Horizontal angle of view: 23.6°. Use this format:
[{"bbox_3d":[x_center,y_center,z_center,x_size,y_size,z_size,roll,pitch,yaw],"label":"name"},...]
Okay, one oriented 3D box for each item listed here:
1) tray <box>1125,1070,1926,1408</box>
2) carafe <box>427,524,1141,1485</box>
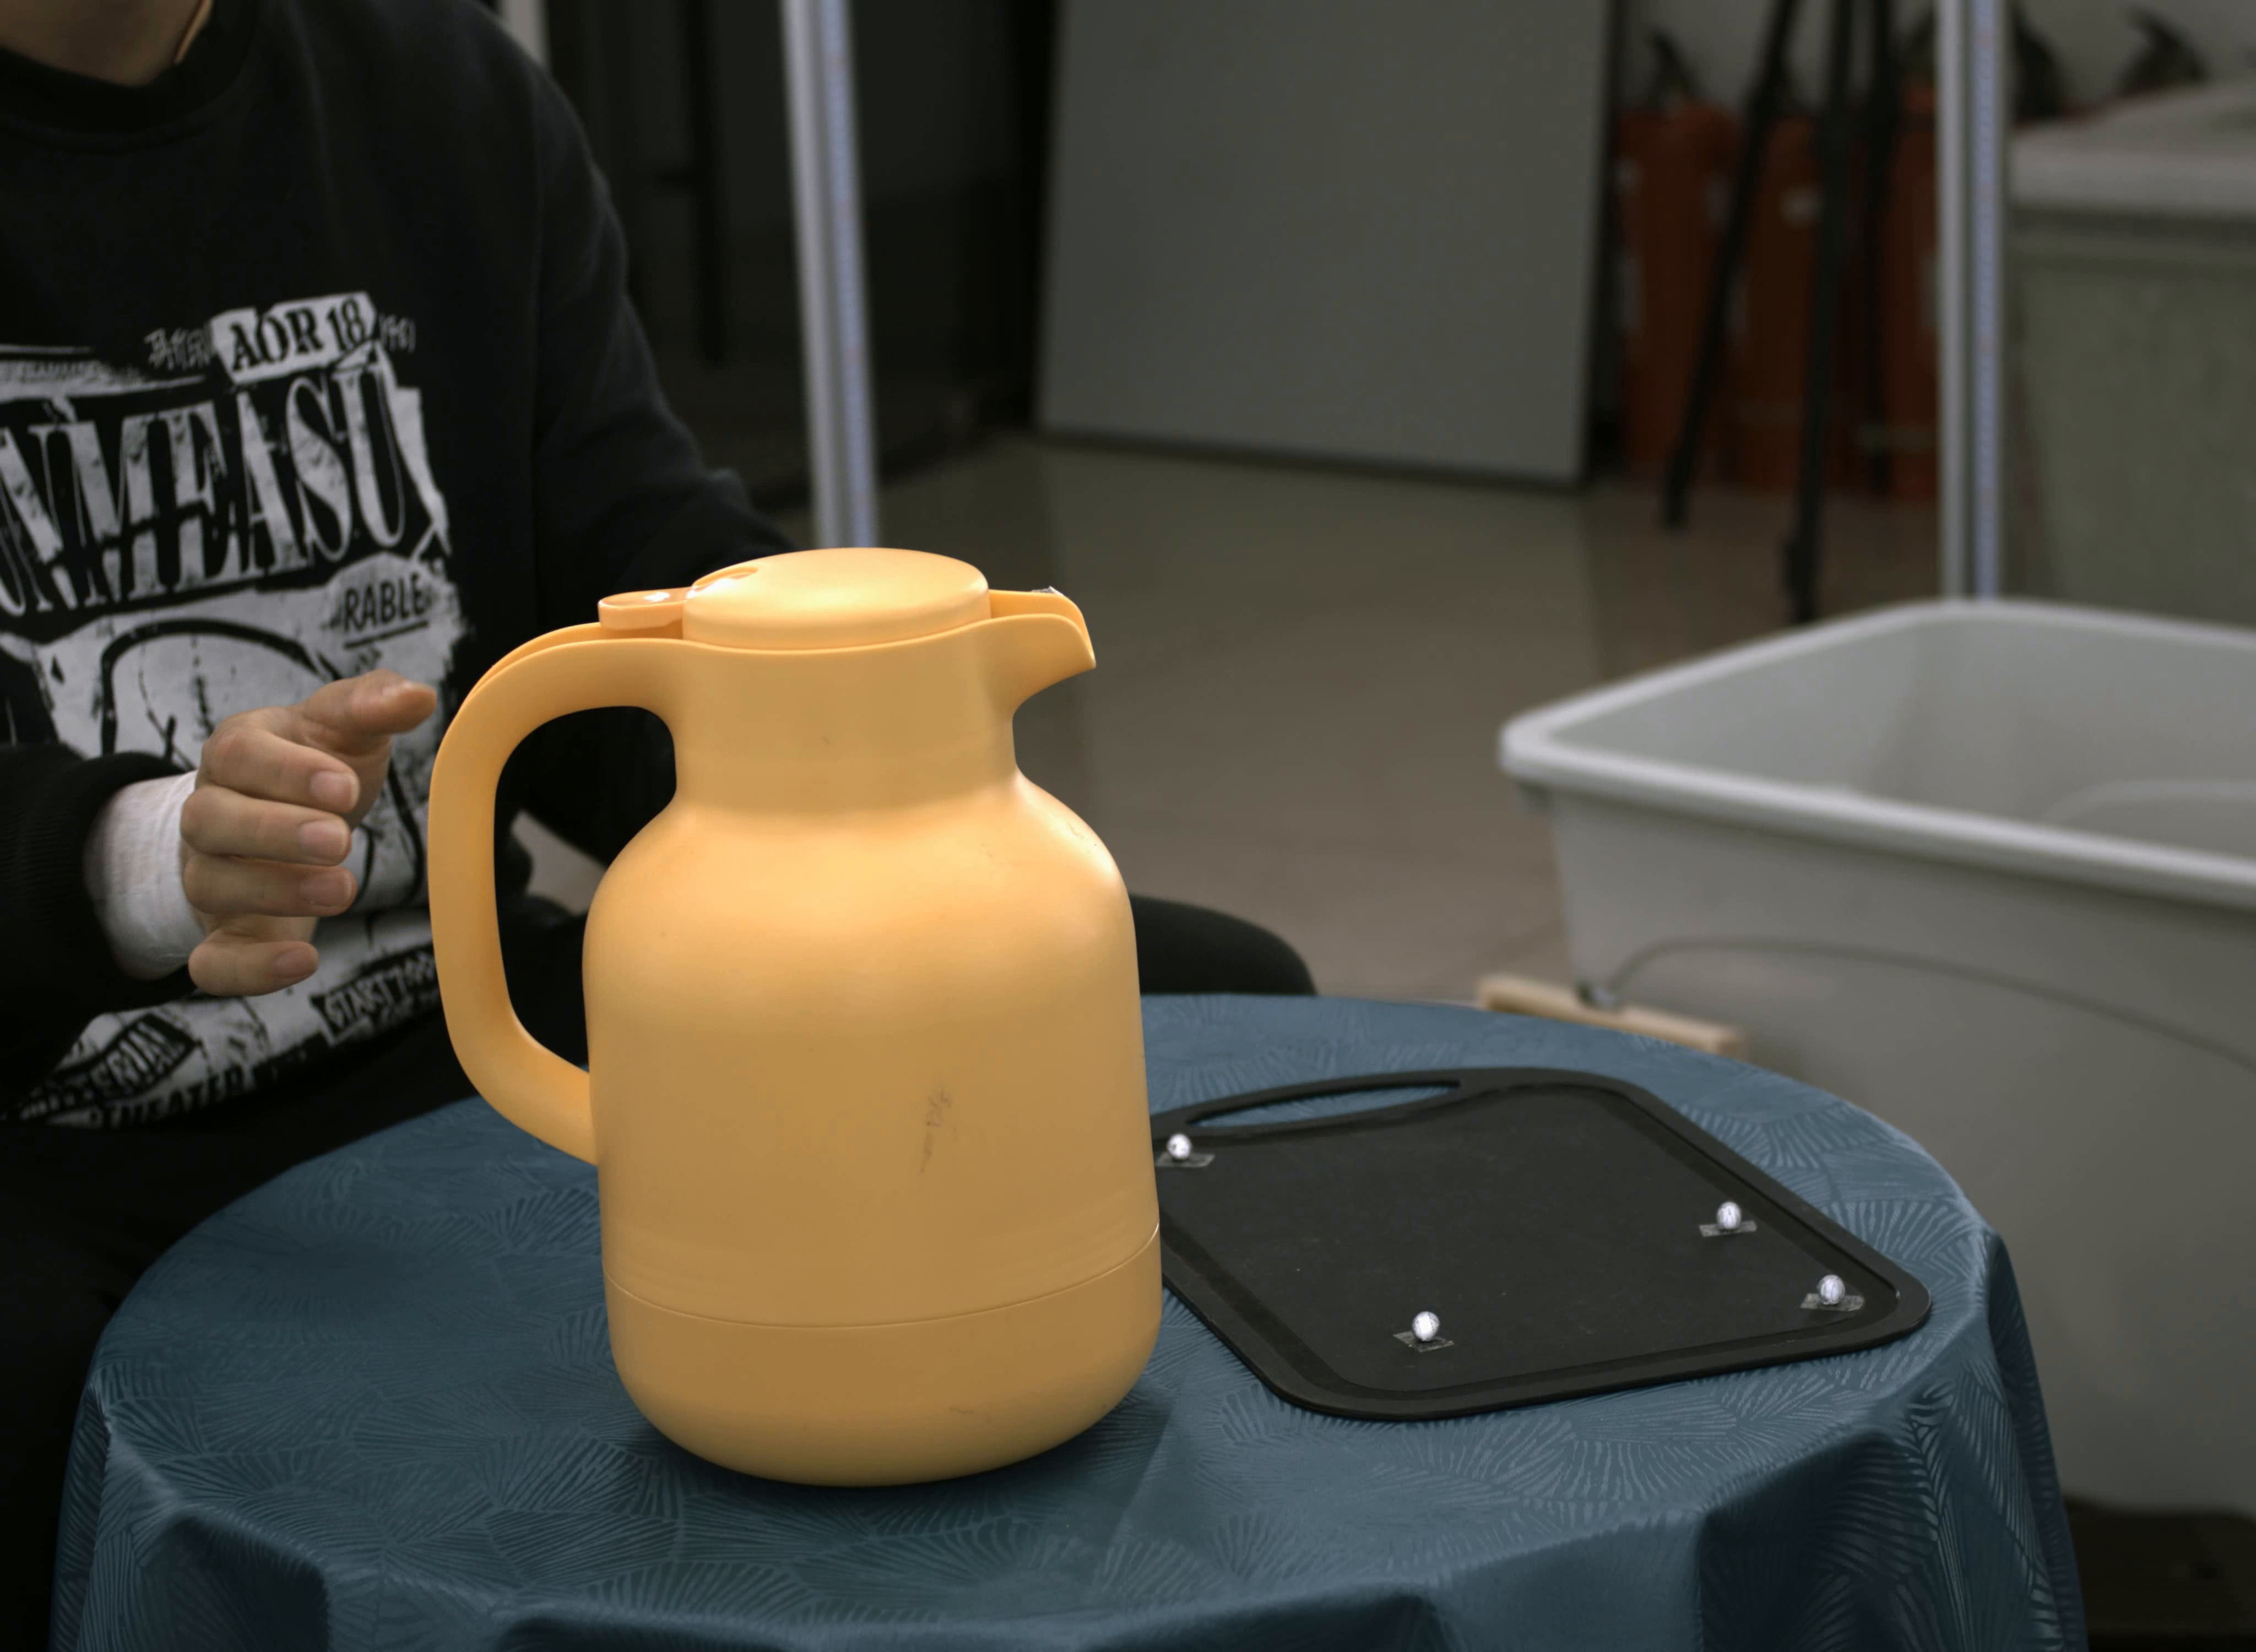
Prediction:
[{"bbox_3d":[0.106,0.124,1.714,0.207,0.010,0.328,-8,14,-14],"label":"tray"},{"bbox_3d":[-0.098,0.047,1.551,0.200,0.263,0.163,-1,11,5],"label":"carafe"}]
